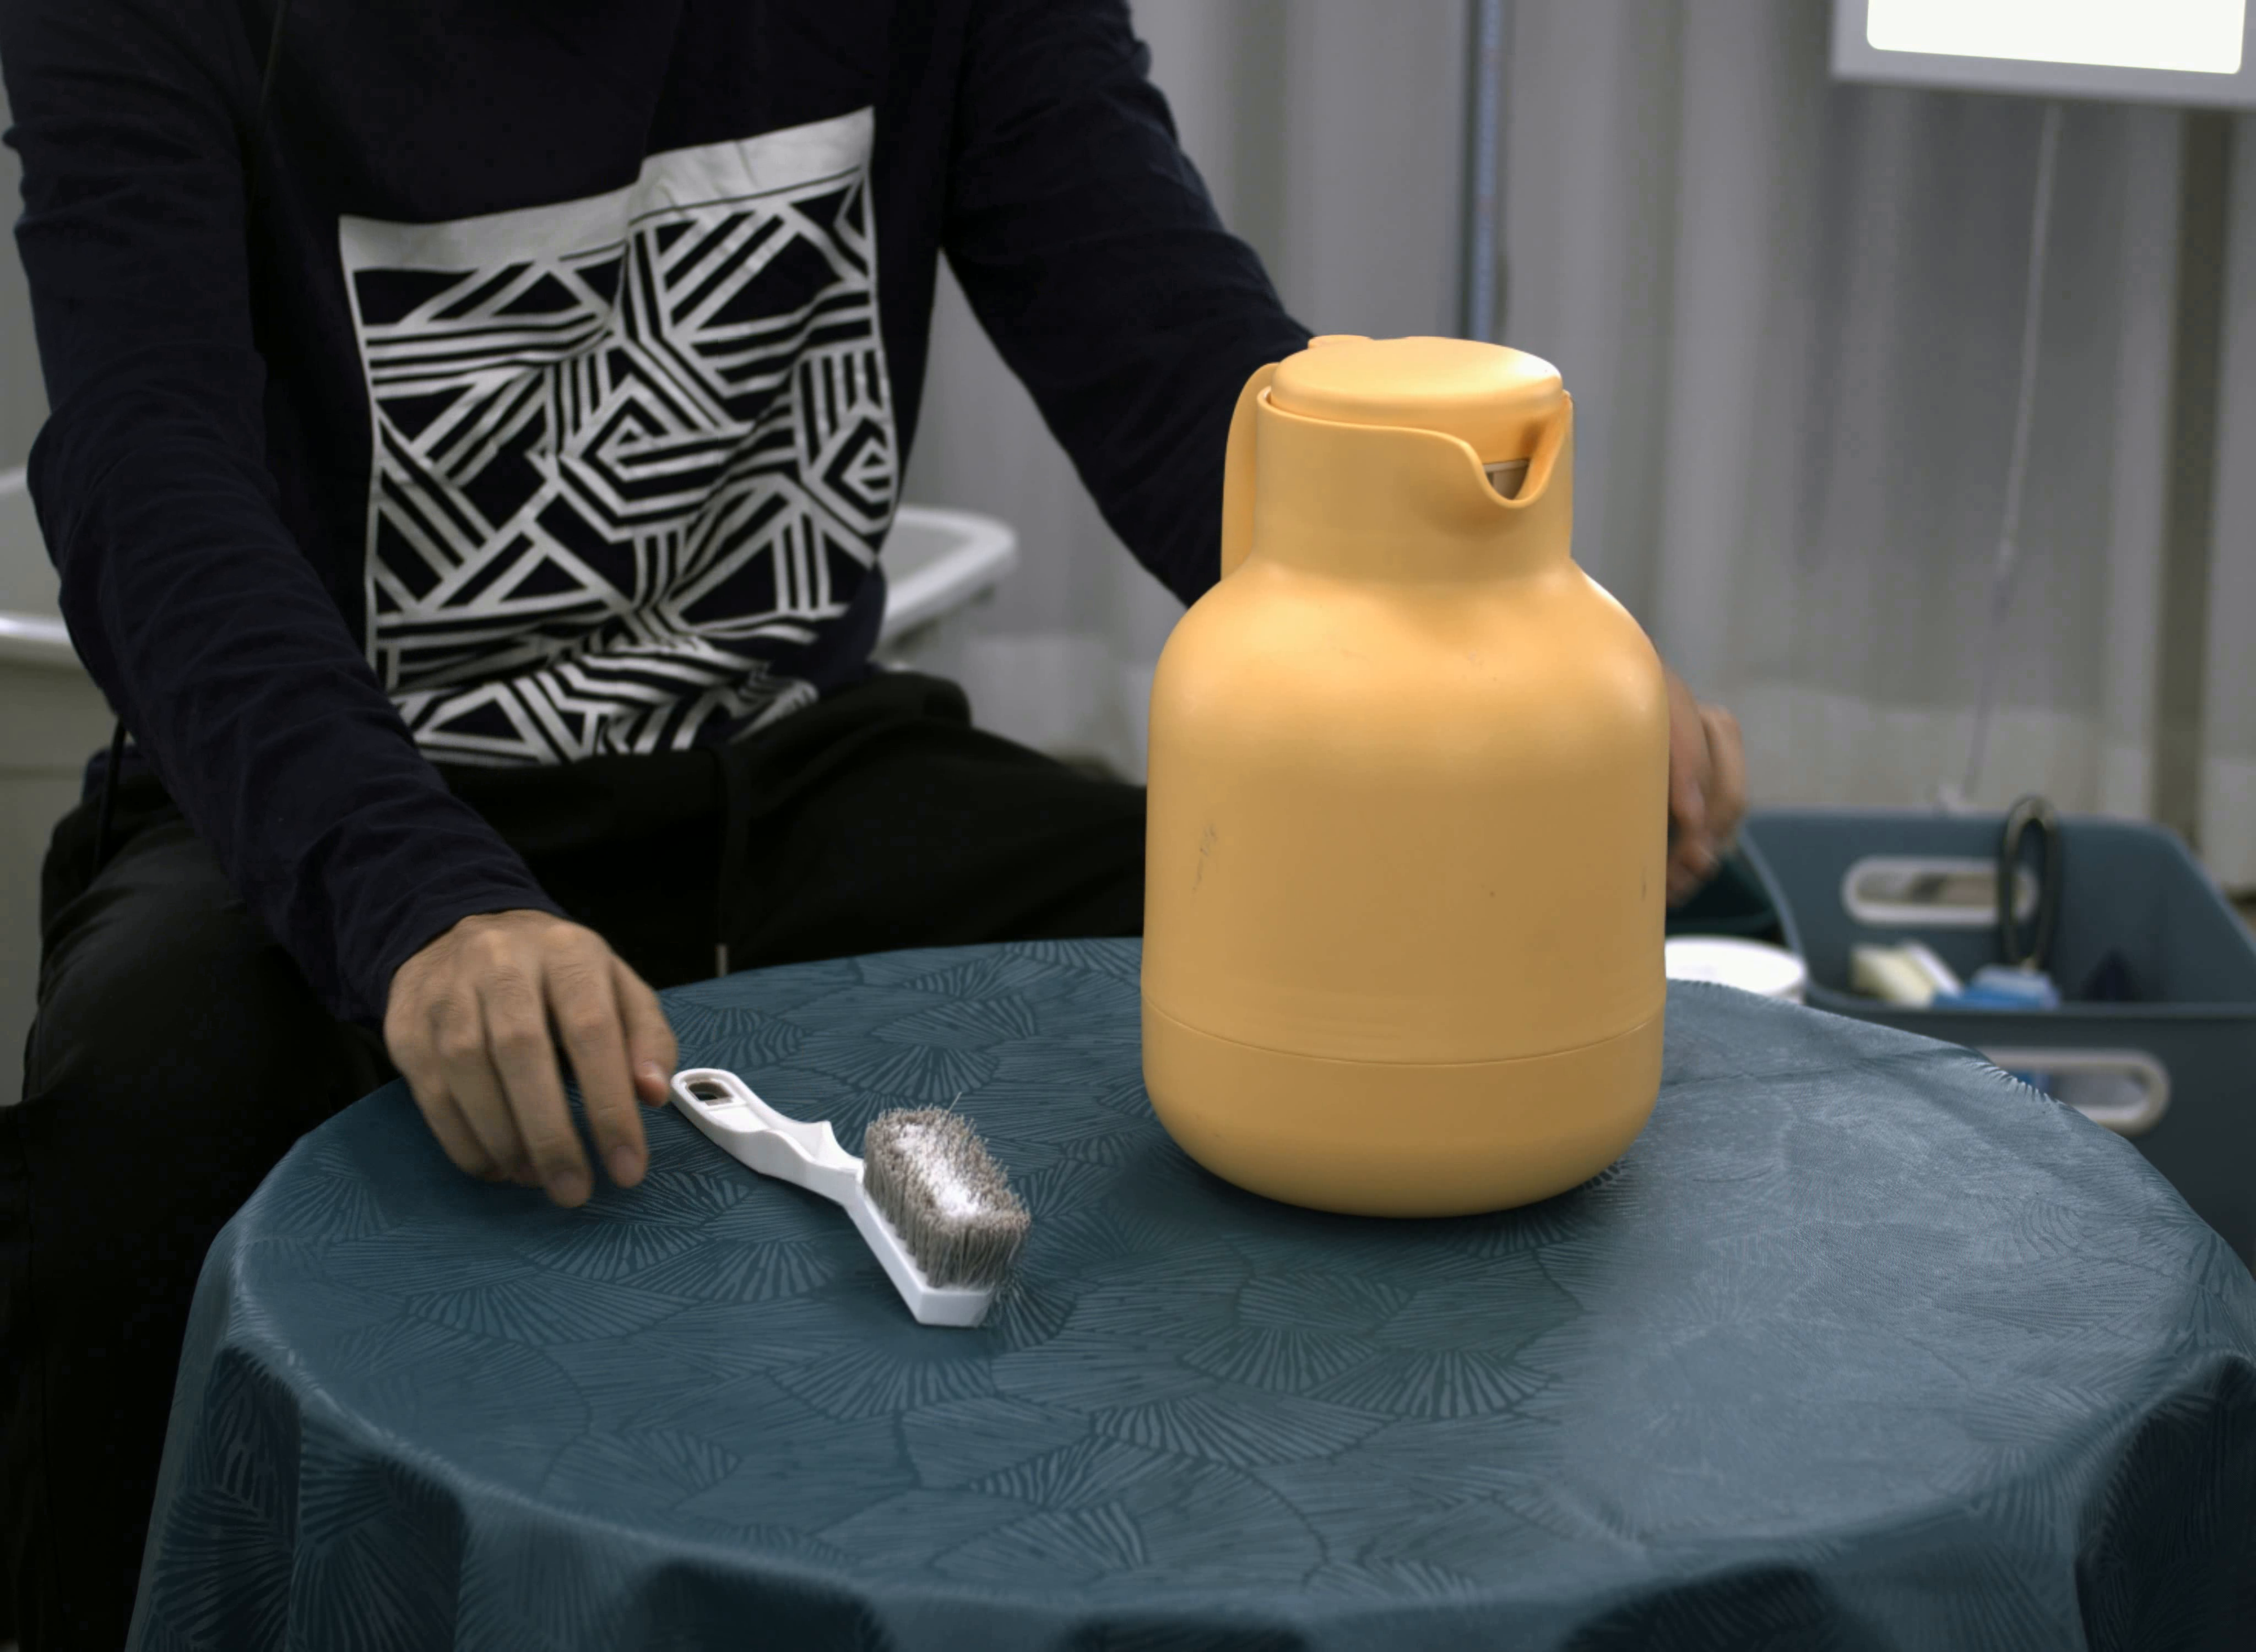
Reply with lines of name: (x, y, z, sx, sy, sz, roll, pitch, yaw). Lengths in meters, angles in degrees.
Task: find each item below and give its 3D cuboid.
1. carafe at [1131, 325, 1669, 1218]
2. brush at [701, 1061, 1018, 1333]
carafe: (0.080, -0.025, 1.634, 0.164, 0.262, 0.200, -3, 17, -21)
brush: (-0.087, 0.093, 1.601, 0.034, 0.051, 0.241, -11, 19, -19)
